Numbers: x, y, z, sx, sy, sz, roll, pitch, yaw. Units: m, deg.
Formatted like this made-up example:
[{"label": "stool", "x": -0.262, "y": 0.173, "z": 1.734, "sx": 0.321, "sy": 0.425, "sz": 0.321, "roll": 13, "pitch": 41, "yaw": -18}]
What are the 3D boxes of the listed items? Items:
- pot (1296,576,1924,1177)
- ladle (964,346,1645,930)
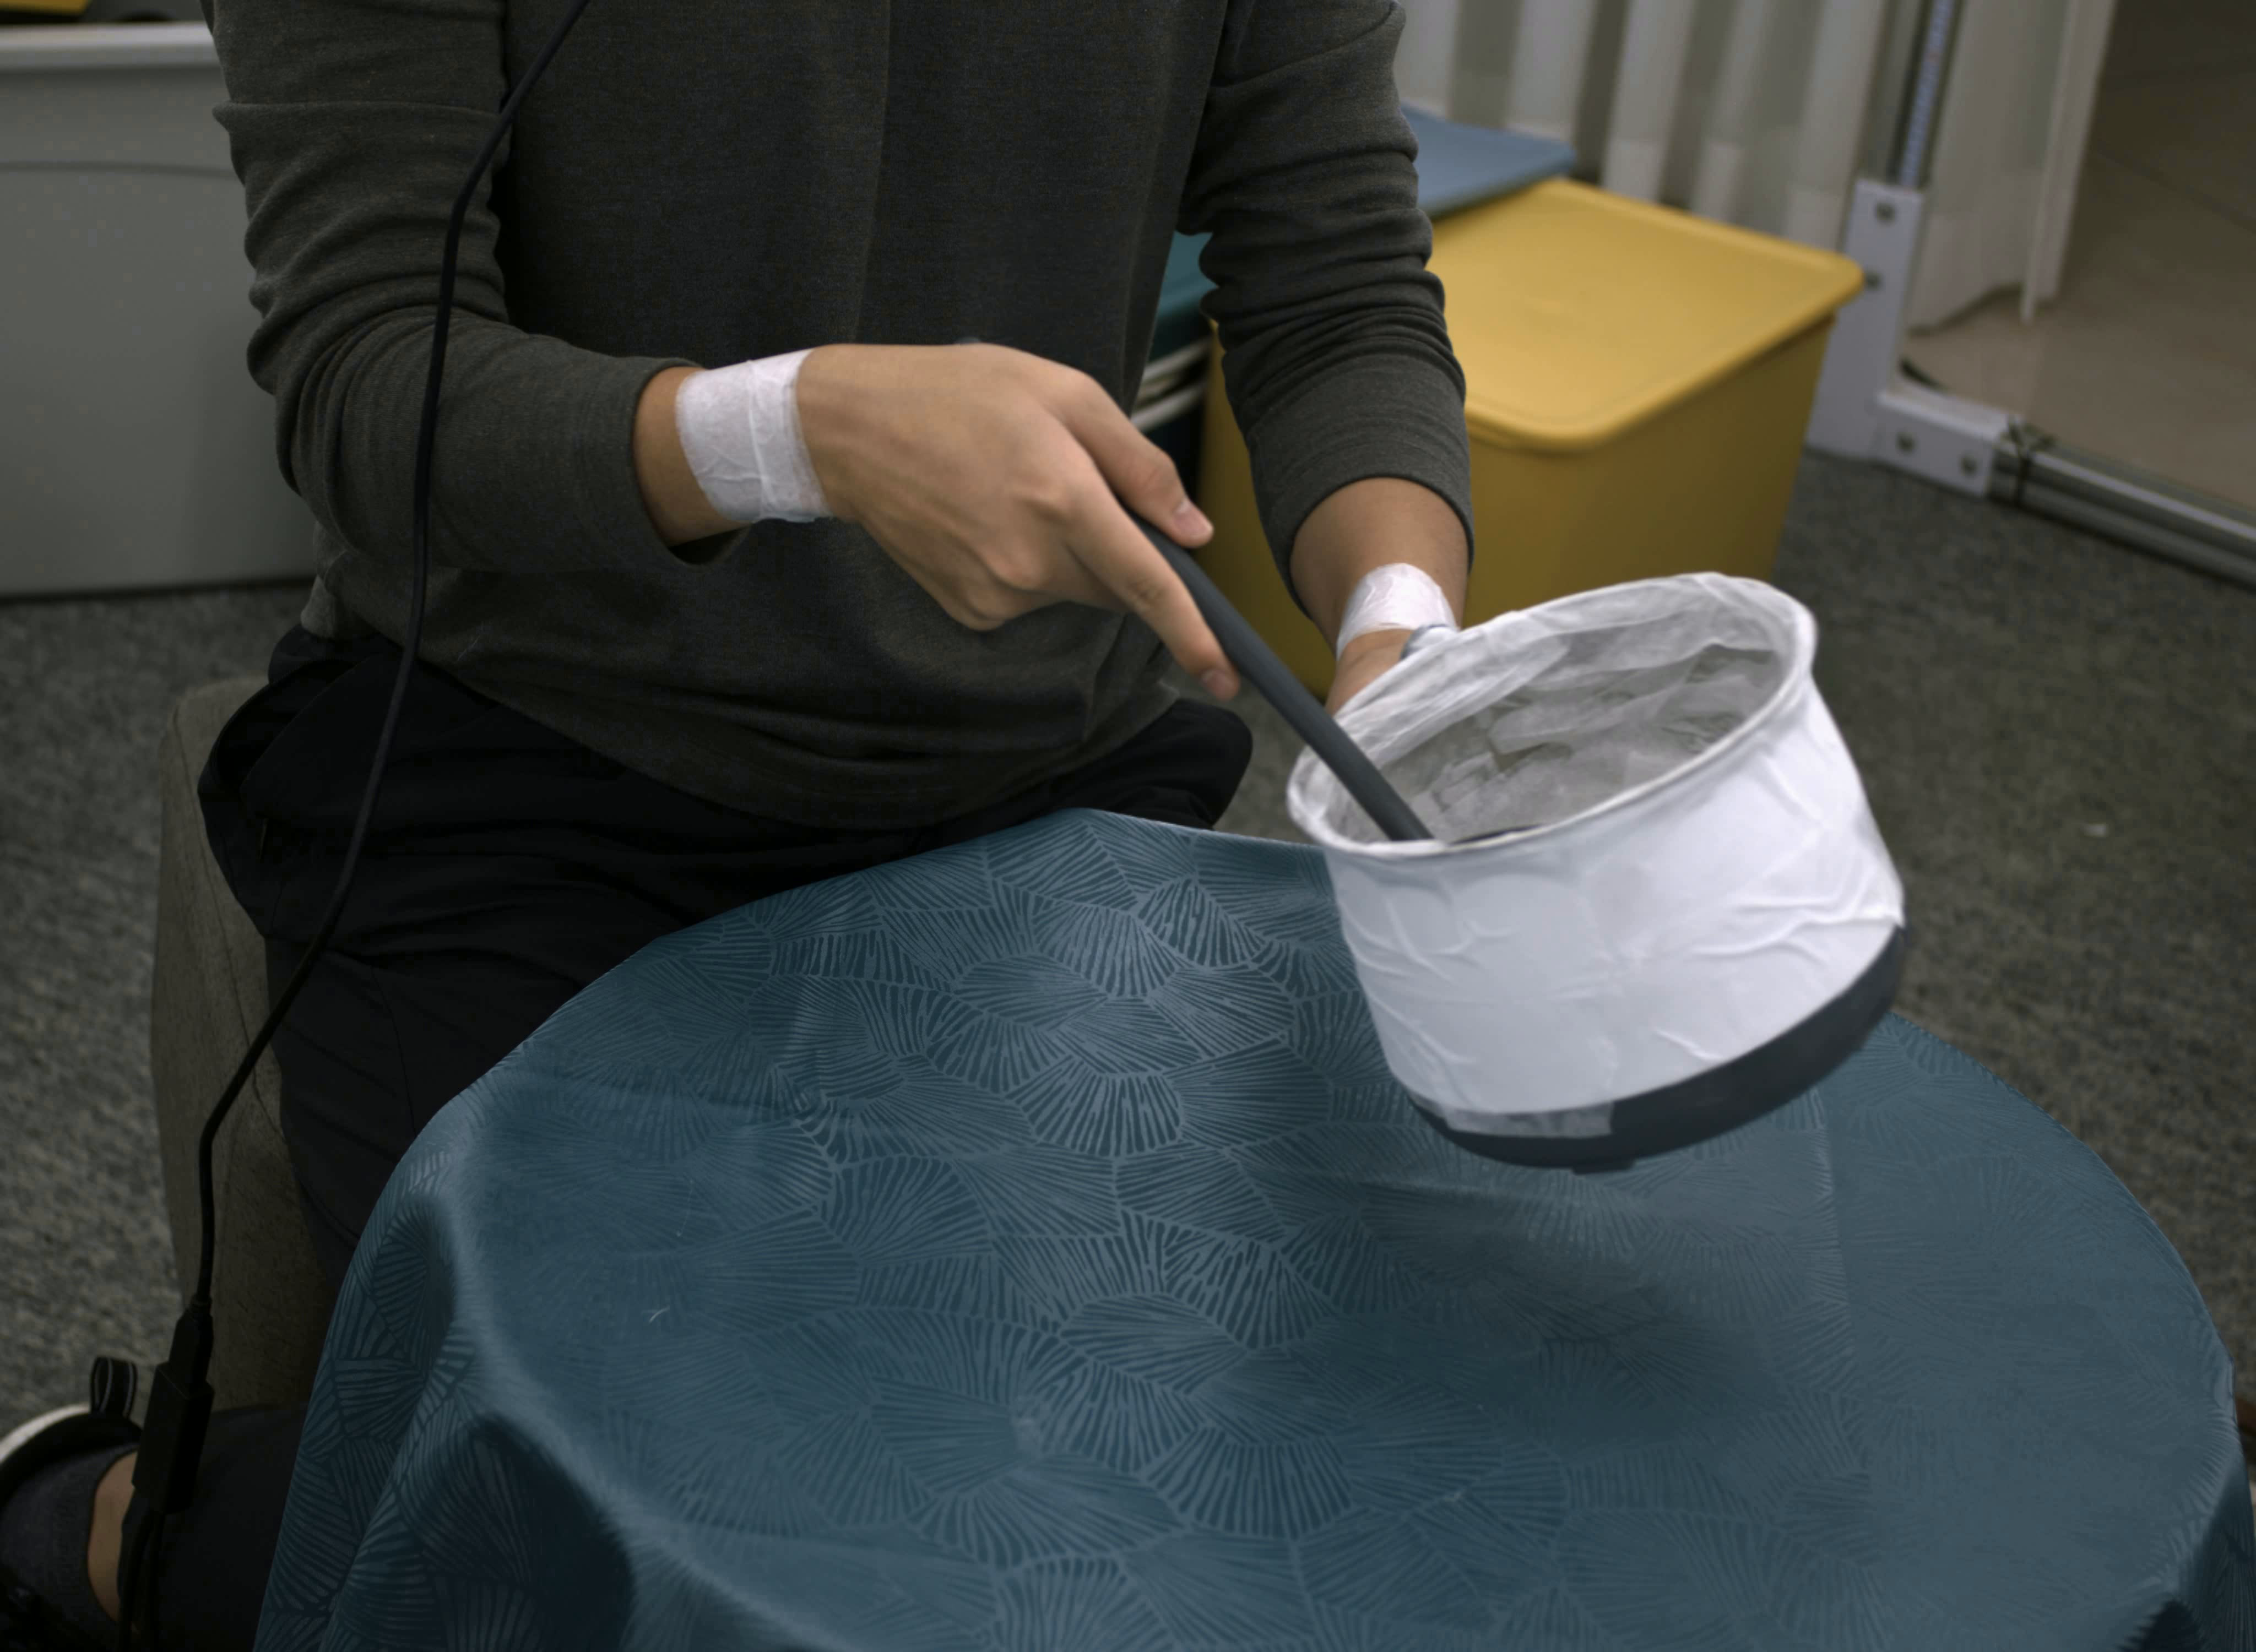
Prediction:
[{"label": "pot", "x": 0.147, "y": 0.010, "z": 1.735, "sx": 0.178, "sy": 0.136, "sz": 0.235, "roll": -26, "pitch": 23, "yaw": -12}, {"label": "ladle", "x": 0.059, "y": -0.070, "z": 1.721, "sx": 0.316, "sy": 0.064, "sz": 0.085, "roll": 48, "pitch": 4, "yaw": 26}]
